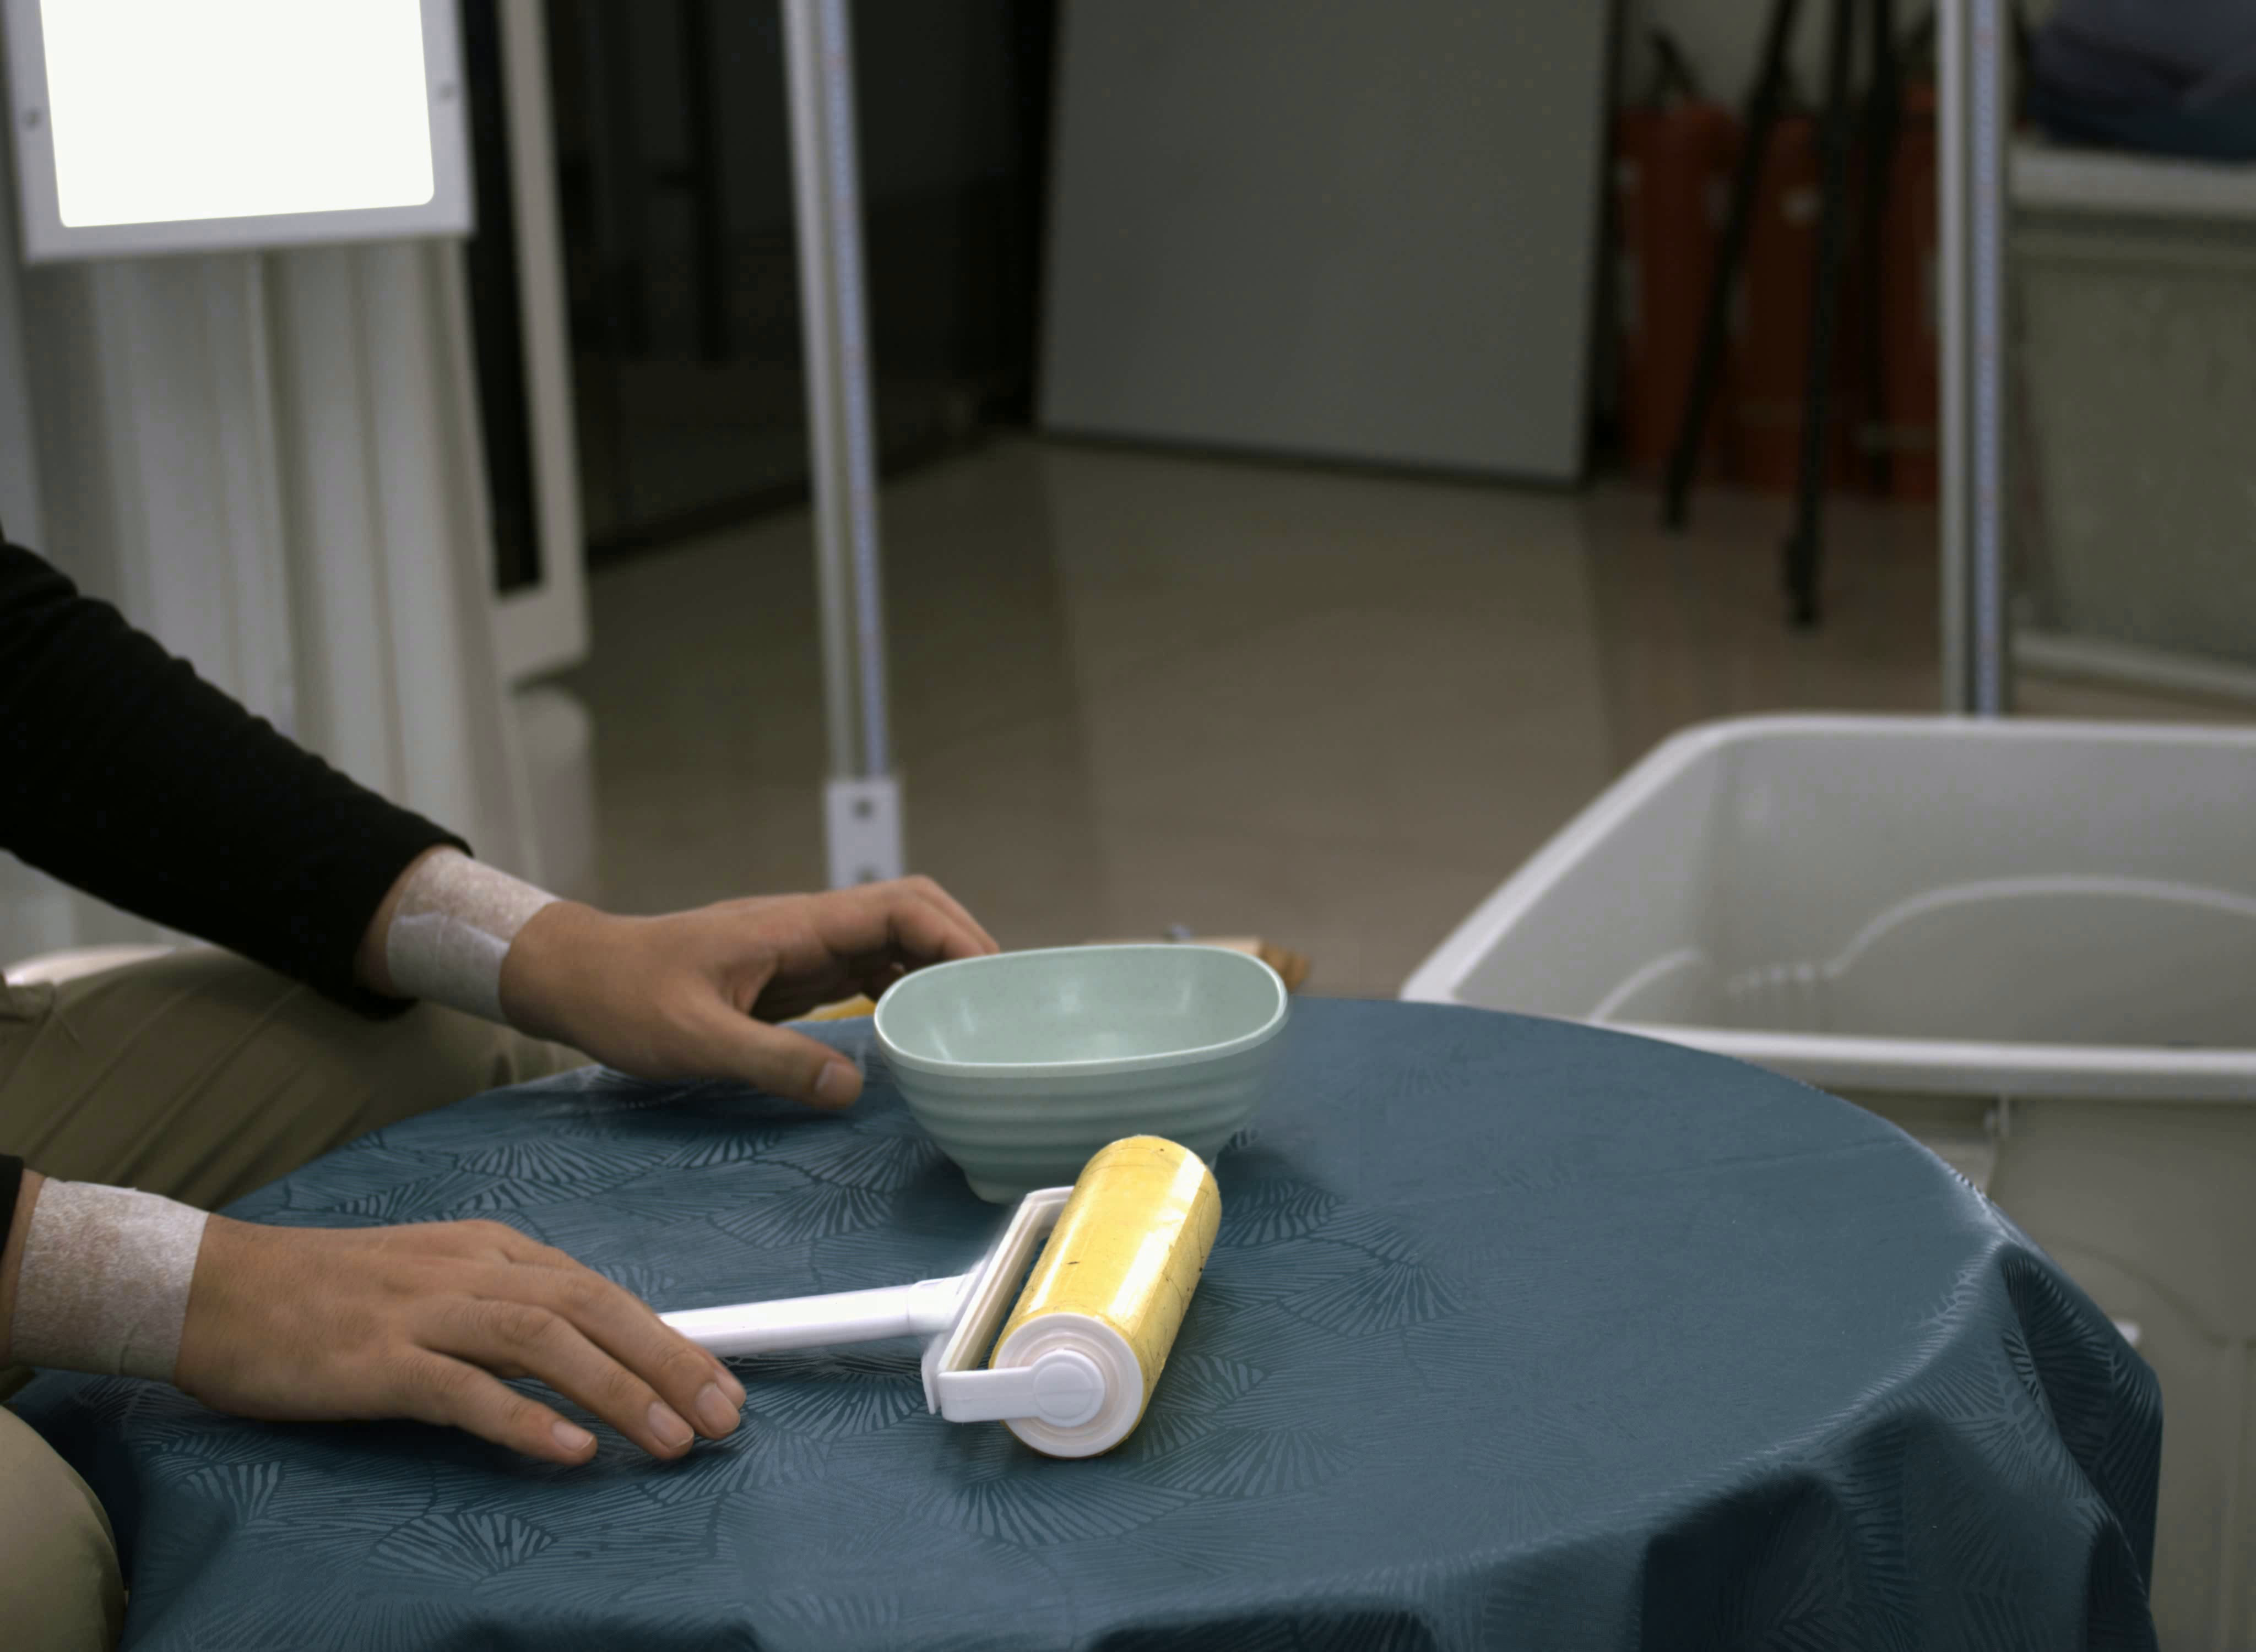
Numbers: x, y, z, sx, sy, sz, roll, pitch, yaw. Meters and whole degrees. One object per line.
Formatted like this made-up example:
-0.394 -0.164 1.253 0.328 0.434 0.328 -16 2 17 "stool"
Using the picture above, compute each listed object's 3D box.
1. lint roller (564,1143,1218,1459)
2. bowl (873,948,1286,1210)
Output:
-0.075 0.138 1.612 0.190 0.052 0.174 2 14 8 "lint roller"
-0.015 0.087 1.794 0.149 0.059 0.152 -3 14 0 "bowl"
